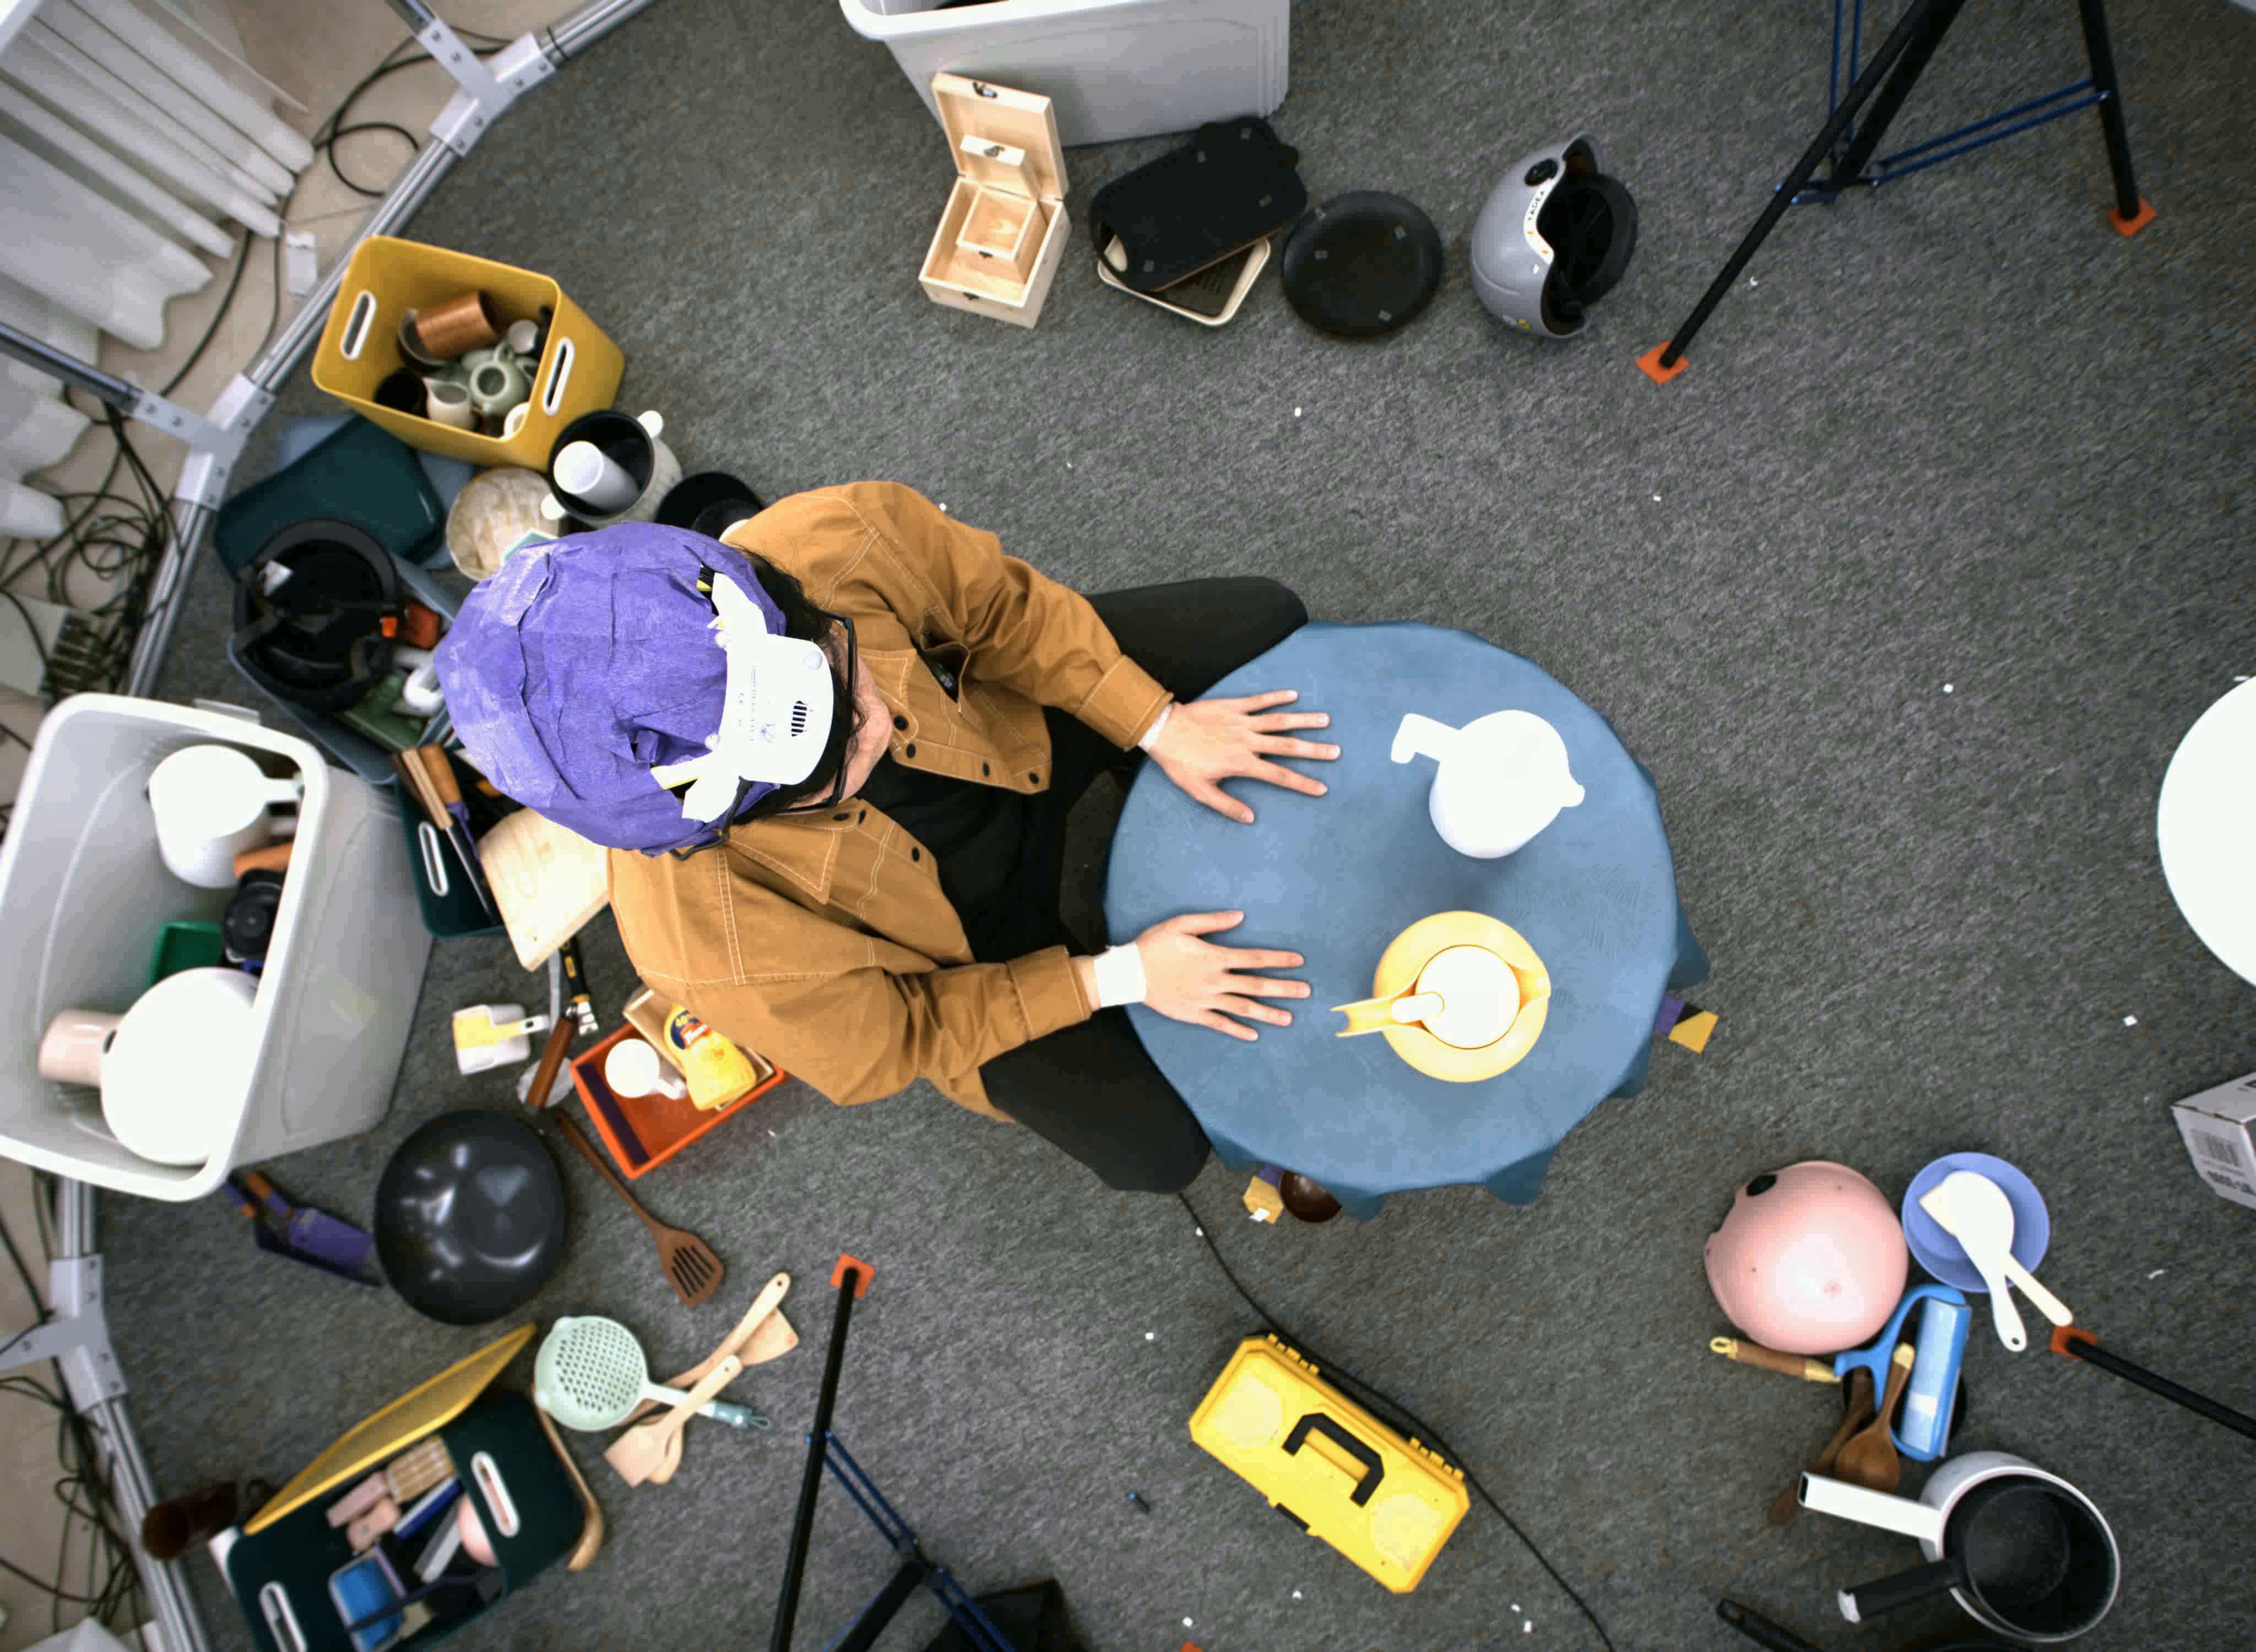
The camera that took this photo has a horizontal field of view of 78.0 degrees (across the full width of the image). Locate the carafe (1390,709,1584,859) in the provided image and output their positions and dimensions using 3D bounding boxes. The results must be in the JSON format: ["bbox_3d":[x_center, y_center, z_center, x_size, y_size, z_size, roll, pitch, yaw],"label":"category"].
[{"bbox_3d":[0.337,-0.044,1.318,0.173,0.268,0.124,23,91,12],"label":"carafe"}]

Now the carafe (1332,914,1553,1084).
[{"bbox_3d":[0.296,0.165,1.318,0.203,0.261,0.162,-10,80,8],"label":"carafe"}]
